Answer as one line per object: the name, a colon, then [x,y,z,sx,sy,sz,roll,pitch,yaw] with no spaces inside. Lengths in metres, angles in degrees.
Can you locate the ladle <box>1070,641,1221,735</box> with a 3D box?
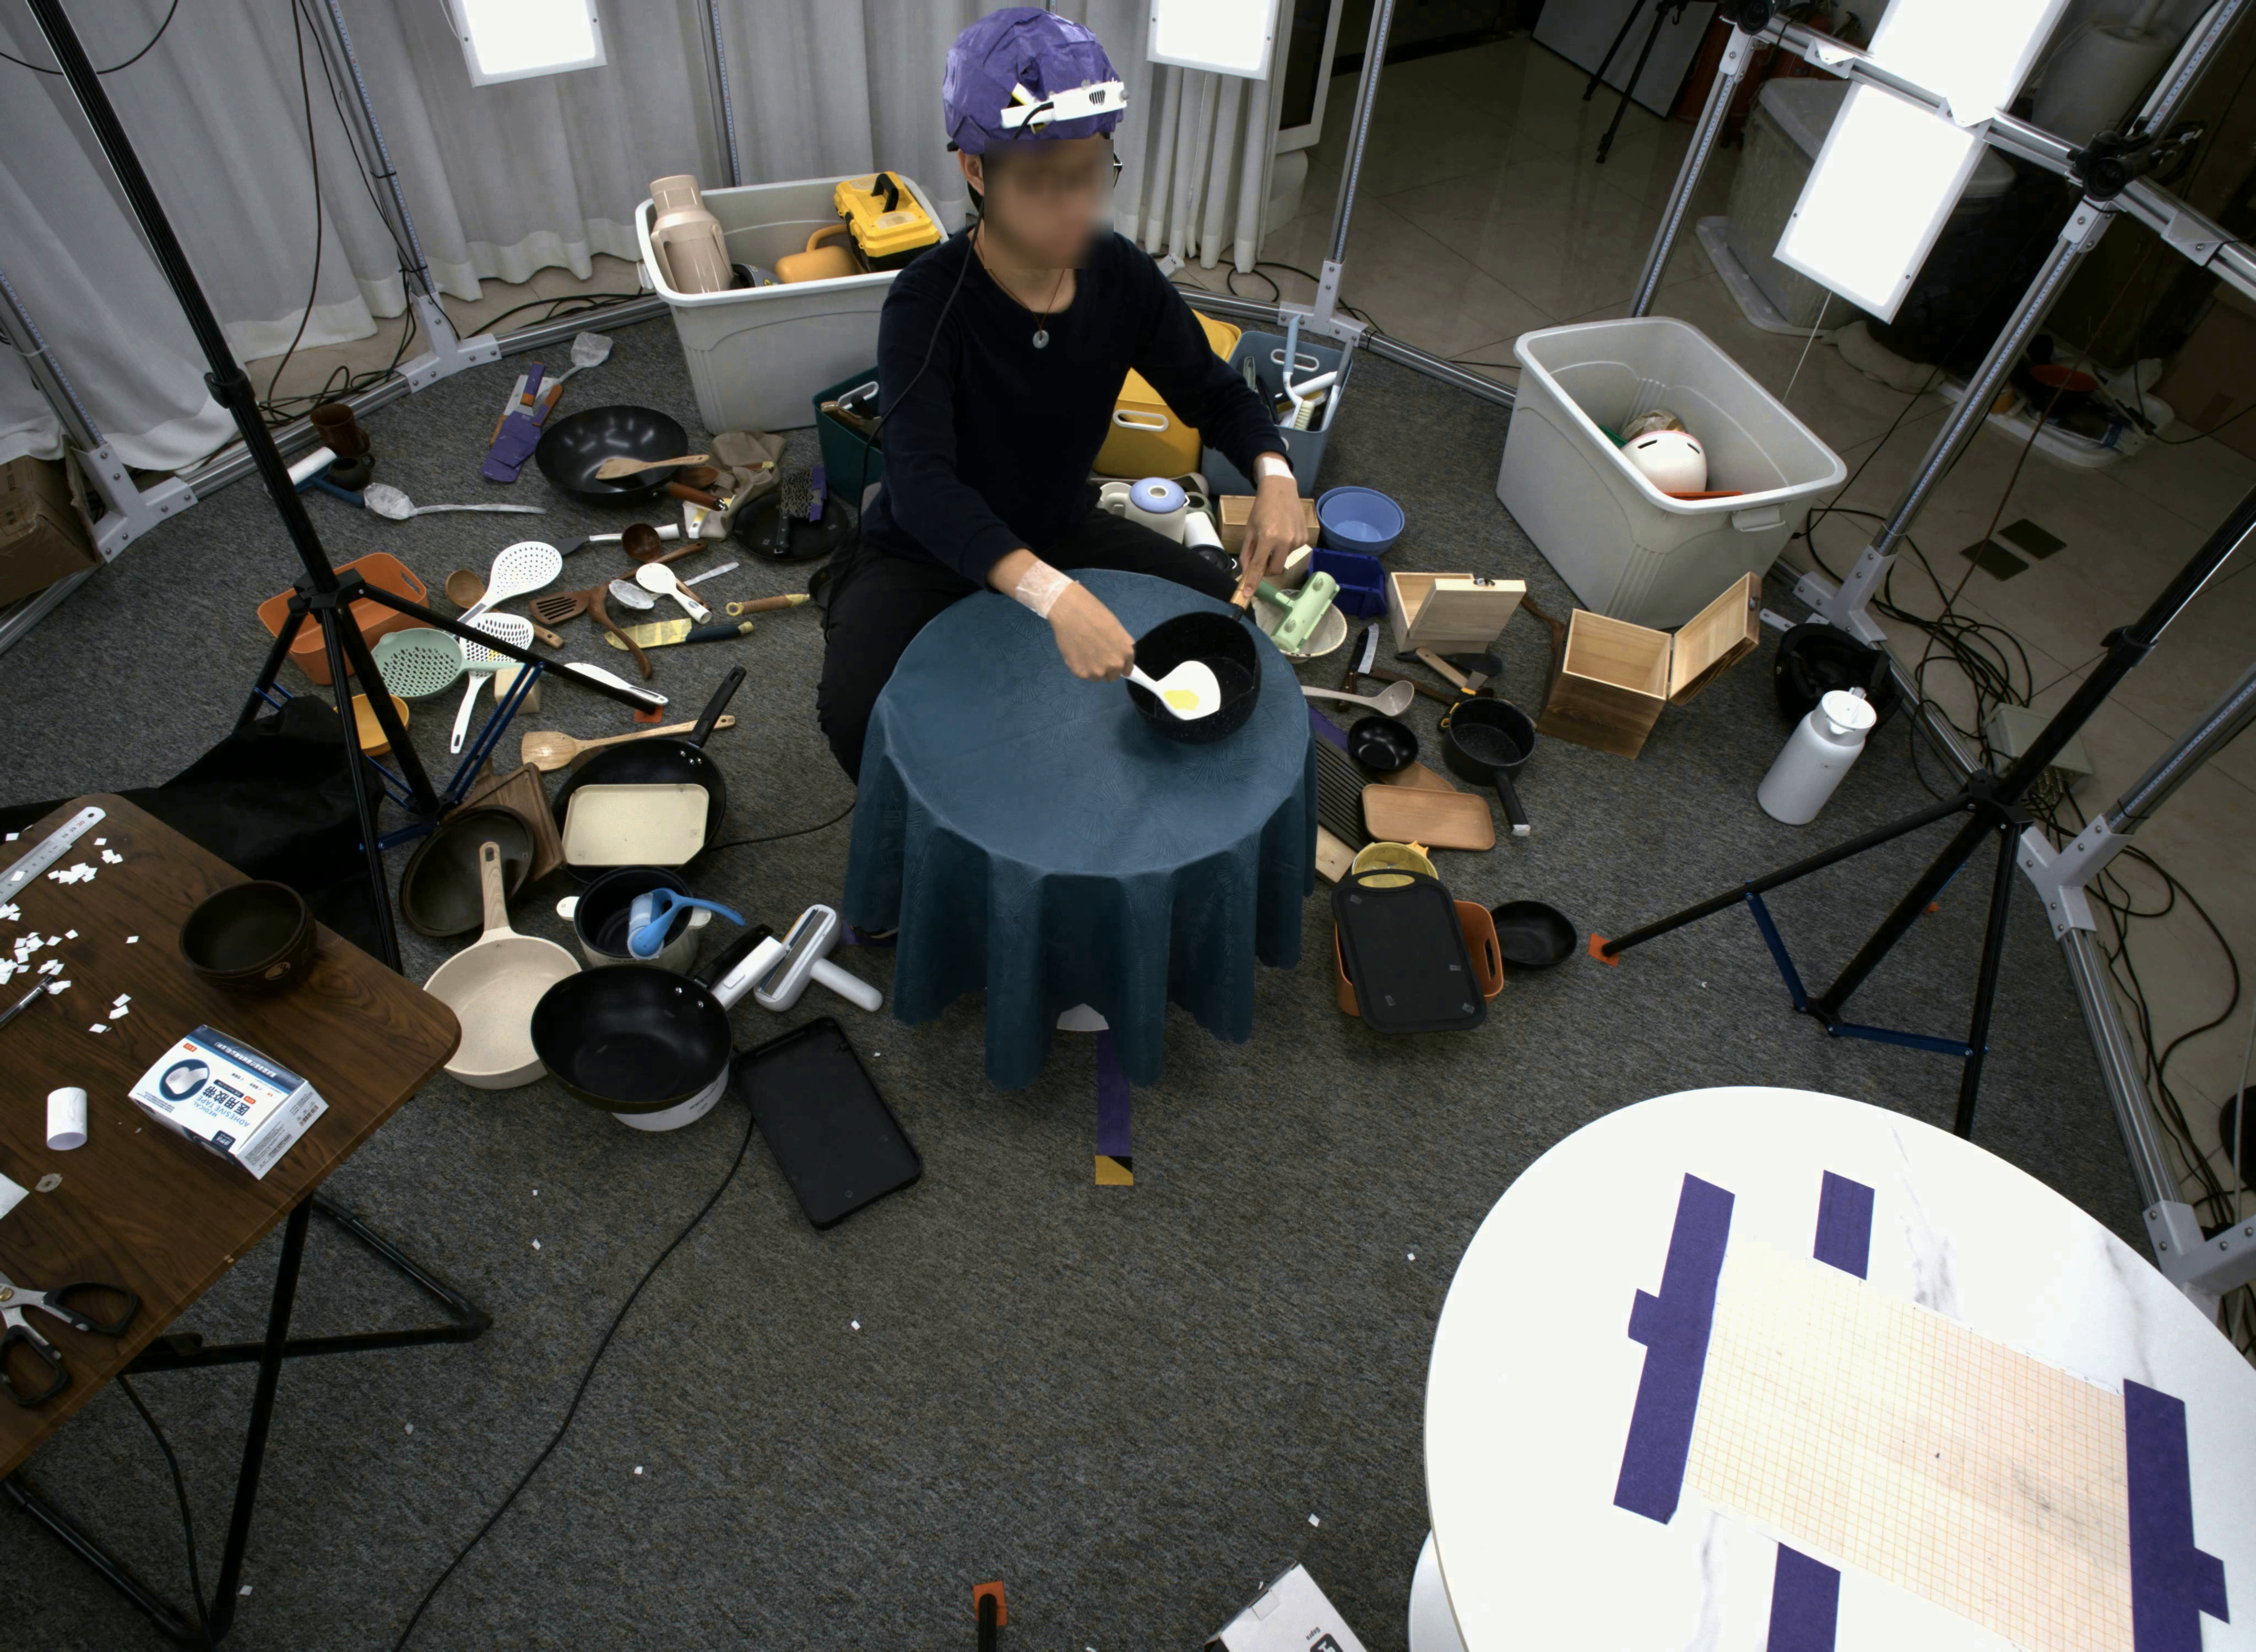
ladle: [0.029,-0.180,1.605,0.070,0.290,0.091,2,83,27]

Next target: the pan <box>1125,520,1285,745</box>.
pan: [0.133,-0.266,1.780,0.210,0.106,0.347,21,69,31]
